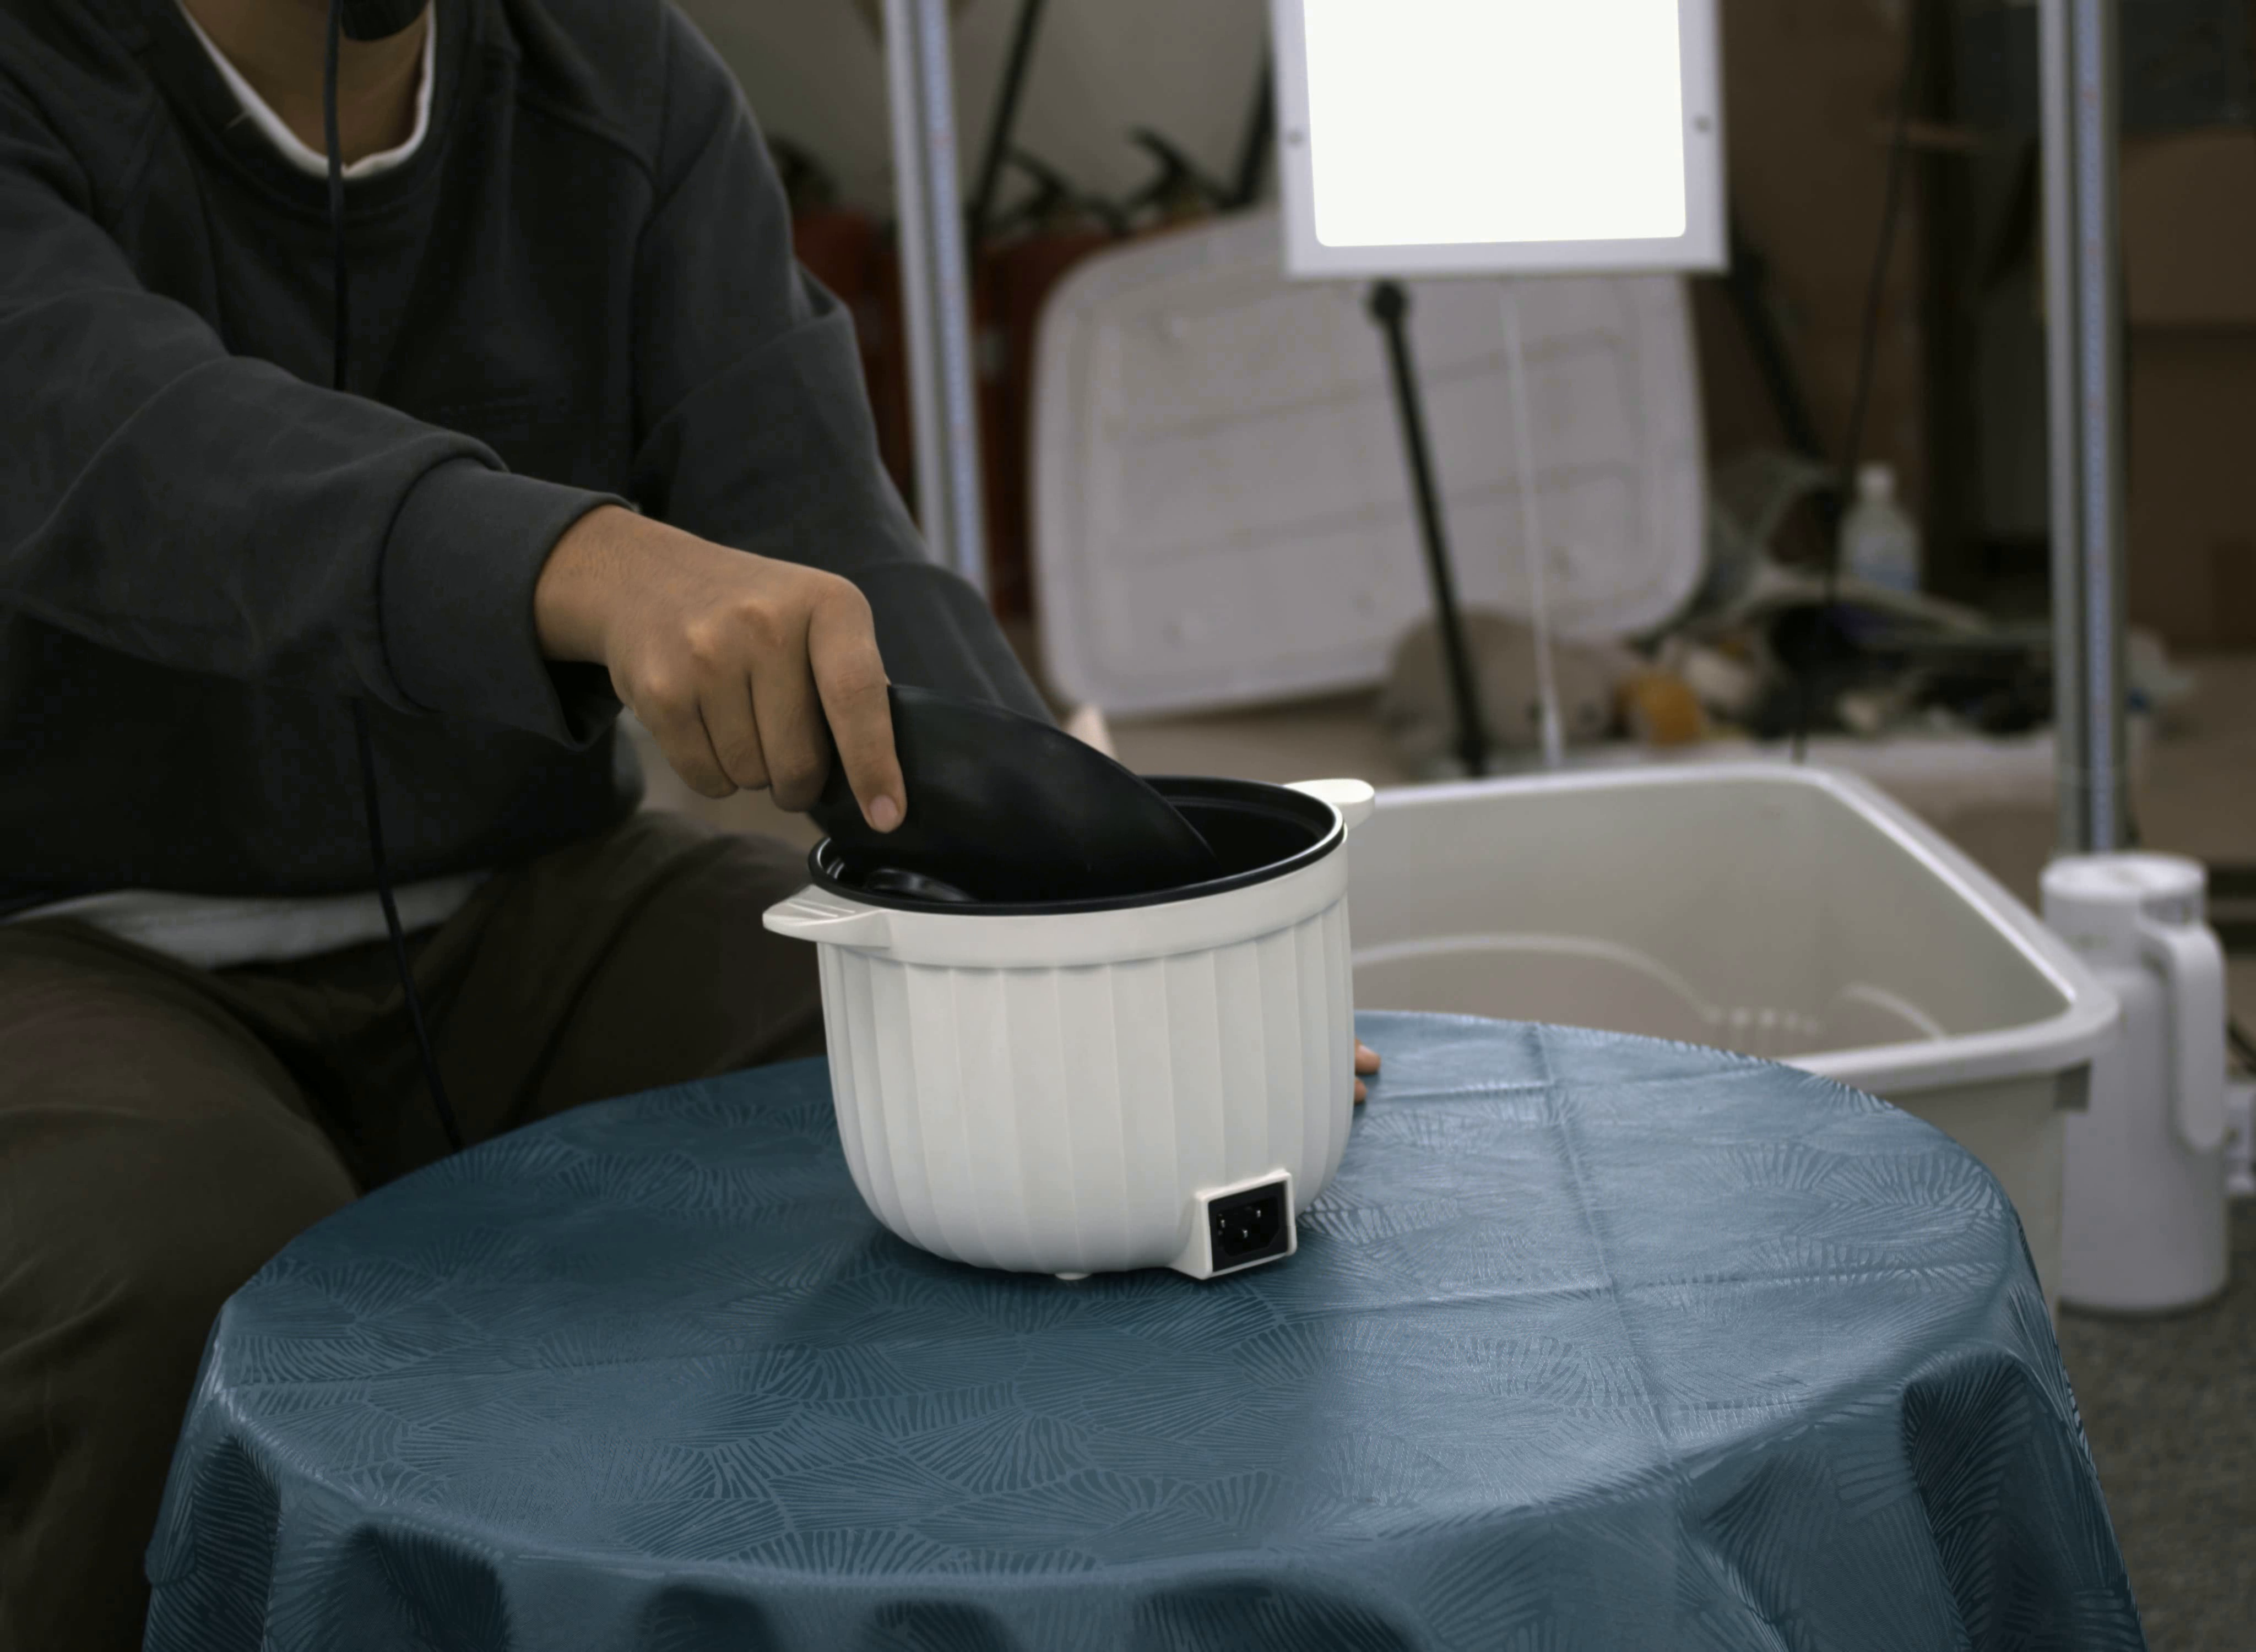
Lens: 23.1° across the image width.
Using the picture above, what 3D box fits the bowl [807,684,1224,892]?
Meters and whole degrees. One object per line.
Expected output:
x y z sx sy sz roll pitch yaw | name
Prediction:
-0.044 0.018 1.824 0.140 0.168 0.066 1 54 48 | bowl

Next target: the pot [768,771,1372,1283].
-0.016 0.068 1.855 0.234 0.143 0.194 -12 18 -32 | pot
